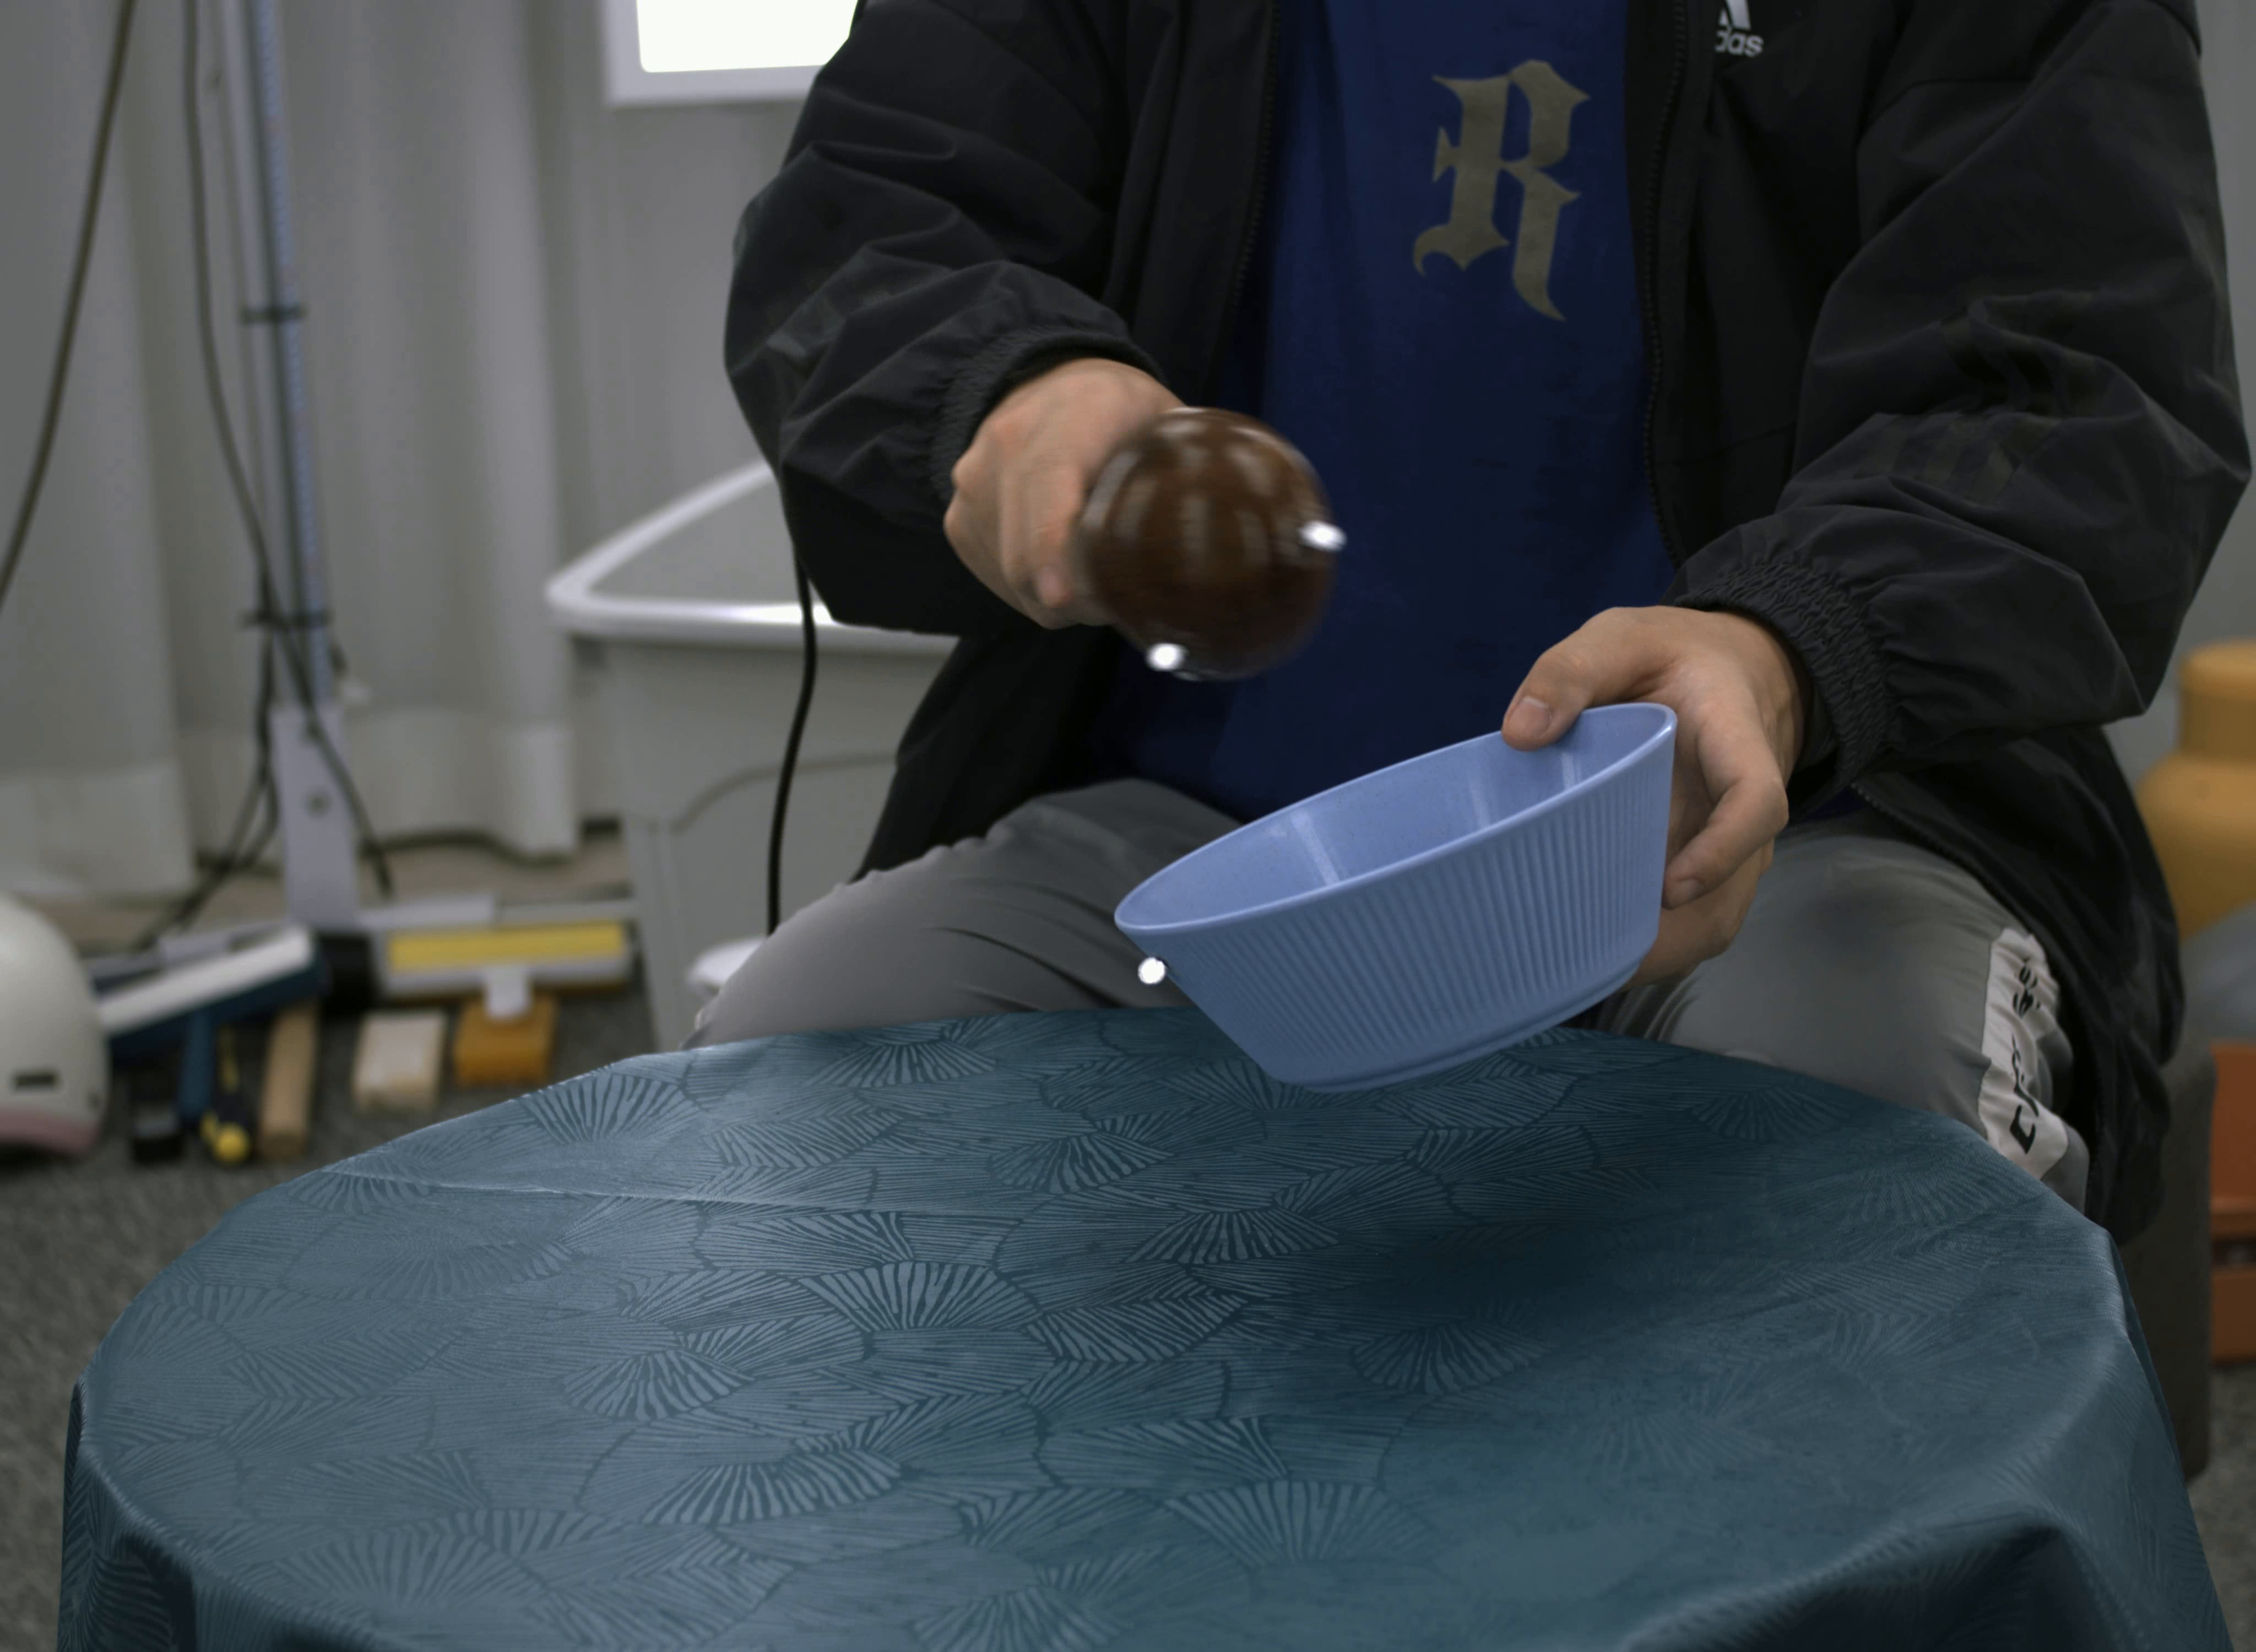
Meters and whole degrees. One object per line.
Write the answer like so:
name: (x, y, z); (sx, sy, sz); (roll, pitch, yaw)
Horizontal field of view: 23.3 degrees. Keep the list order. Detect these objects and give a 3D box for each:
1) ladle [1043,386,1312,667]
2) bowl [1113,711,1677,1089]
ladle: (0.012, -0.093, 1.699); (0.076, 0.082, 0.274); (-5, 3, -1)
bowl: (0.088, 0.026, 1.613); (0.175, 0.070, 0.176); (-20, 7, 2)
